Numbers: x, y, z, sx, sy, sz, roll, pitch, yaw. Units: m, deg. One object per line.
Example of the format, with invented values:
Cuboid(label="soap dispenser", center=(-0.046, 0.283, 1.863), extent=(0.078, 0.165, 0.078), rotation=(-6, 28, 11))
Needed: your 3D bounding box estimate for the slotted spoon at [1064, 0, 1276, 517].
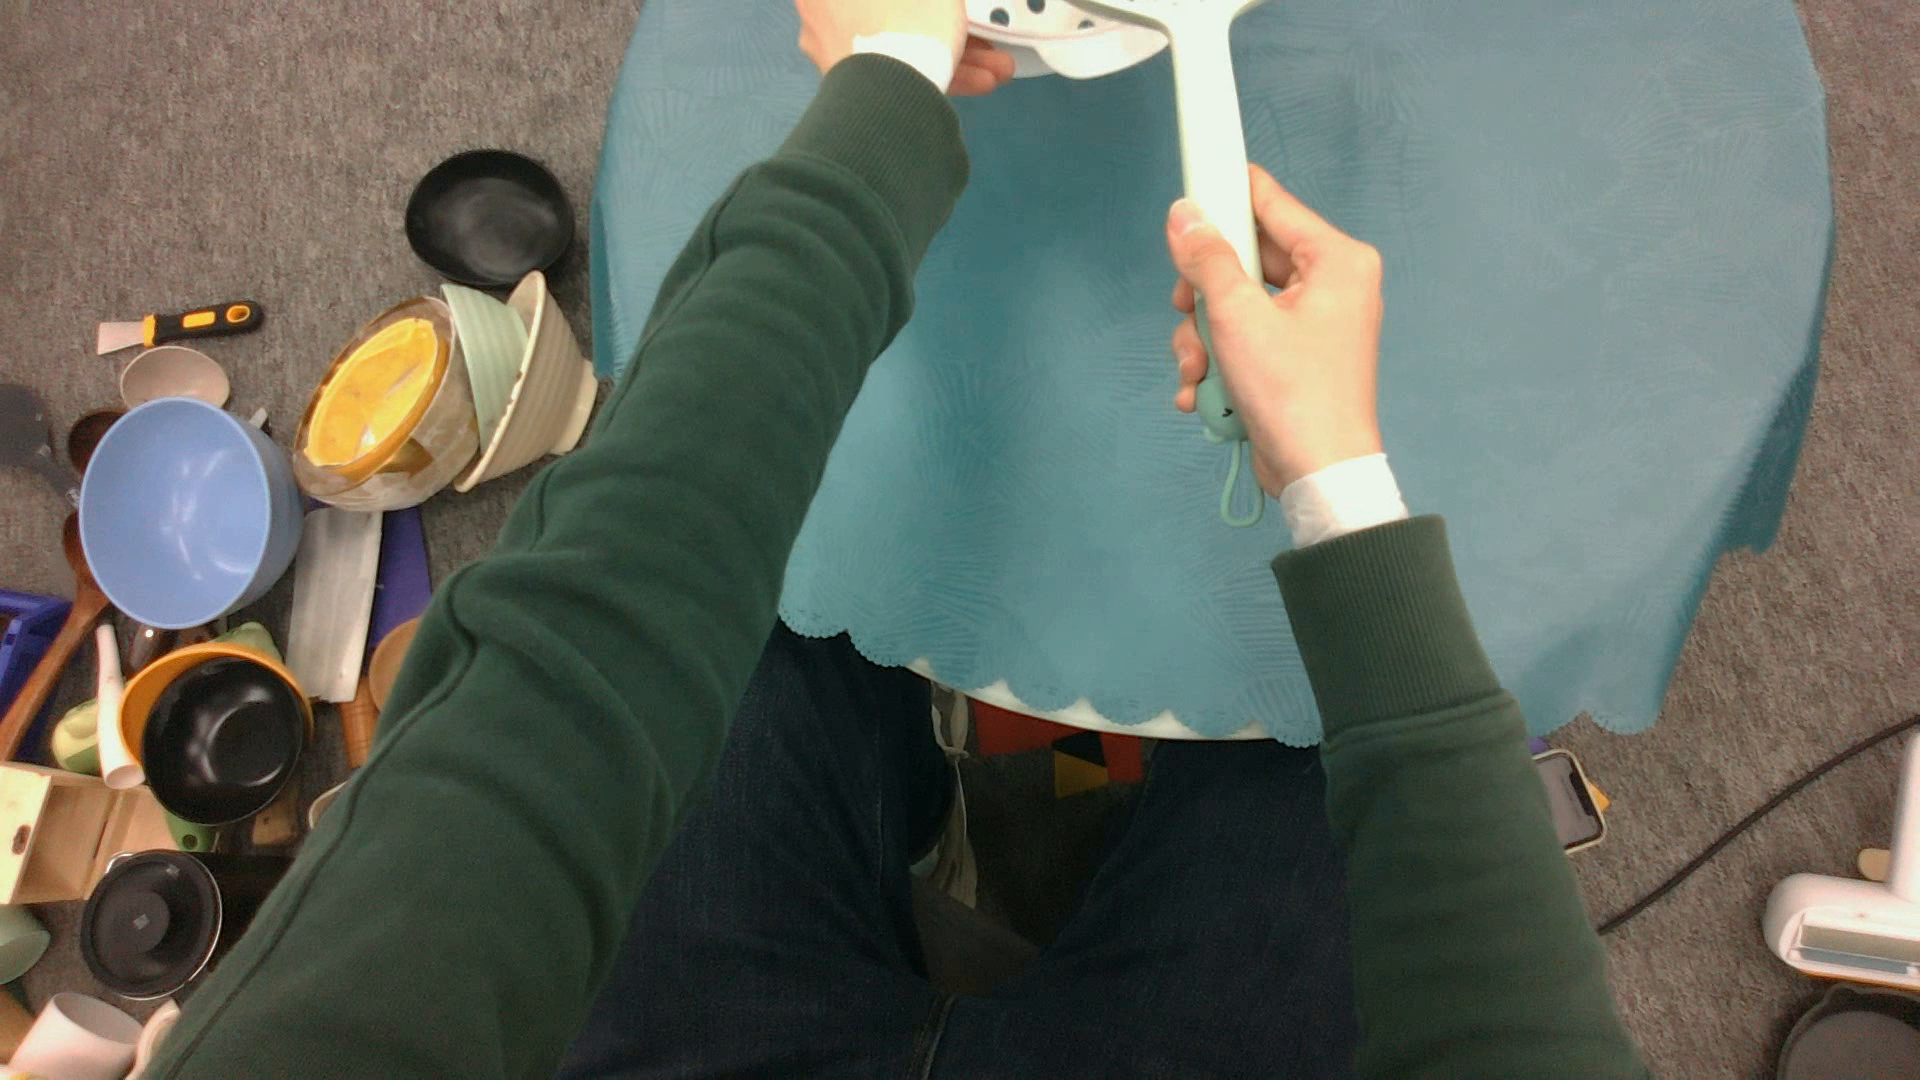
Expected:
Cuboid(label="slotted spoon", center=(0.088, -0.190, 0.534), extent=(0.169, 0.075, 0.360), rotation=(-6, 72, 3))

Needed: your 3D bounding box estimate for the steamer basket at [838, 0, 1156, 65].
Cuboid(label="steamer basket", center=(0.010, -0.318, 0.616), extent=(0.202, 0.069, 0.230), rotation=(-25, 96, -14))
